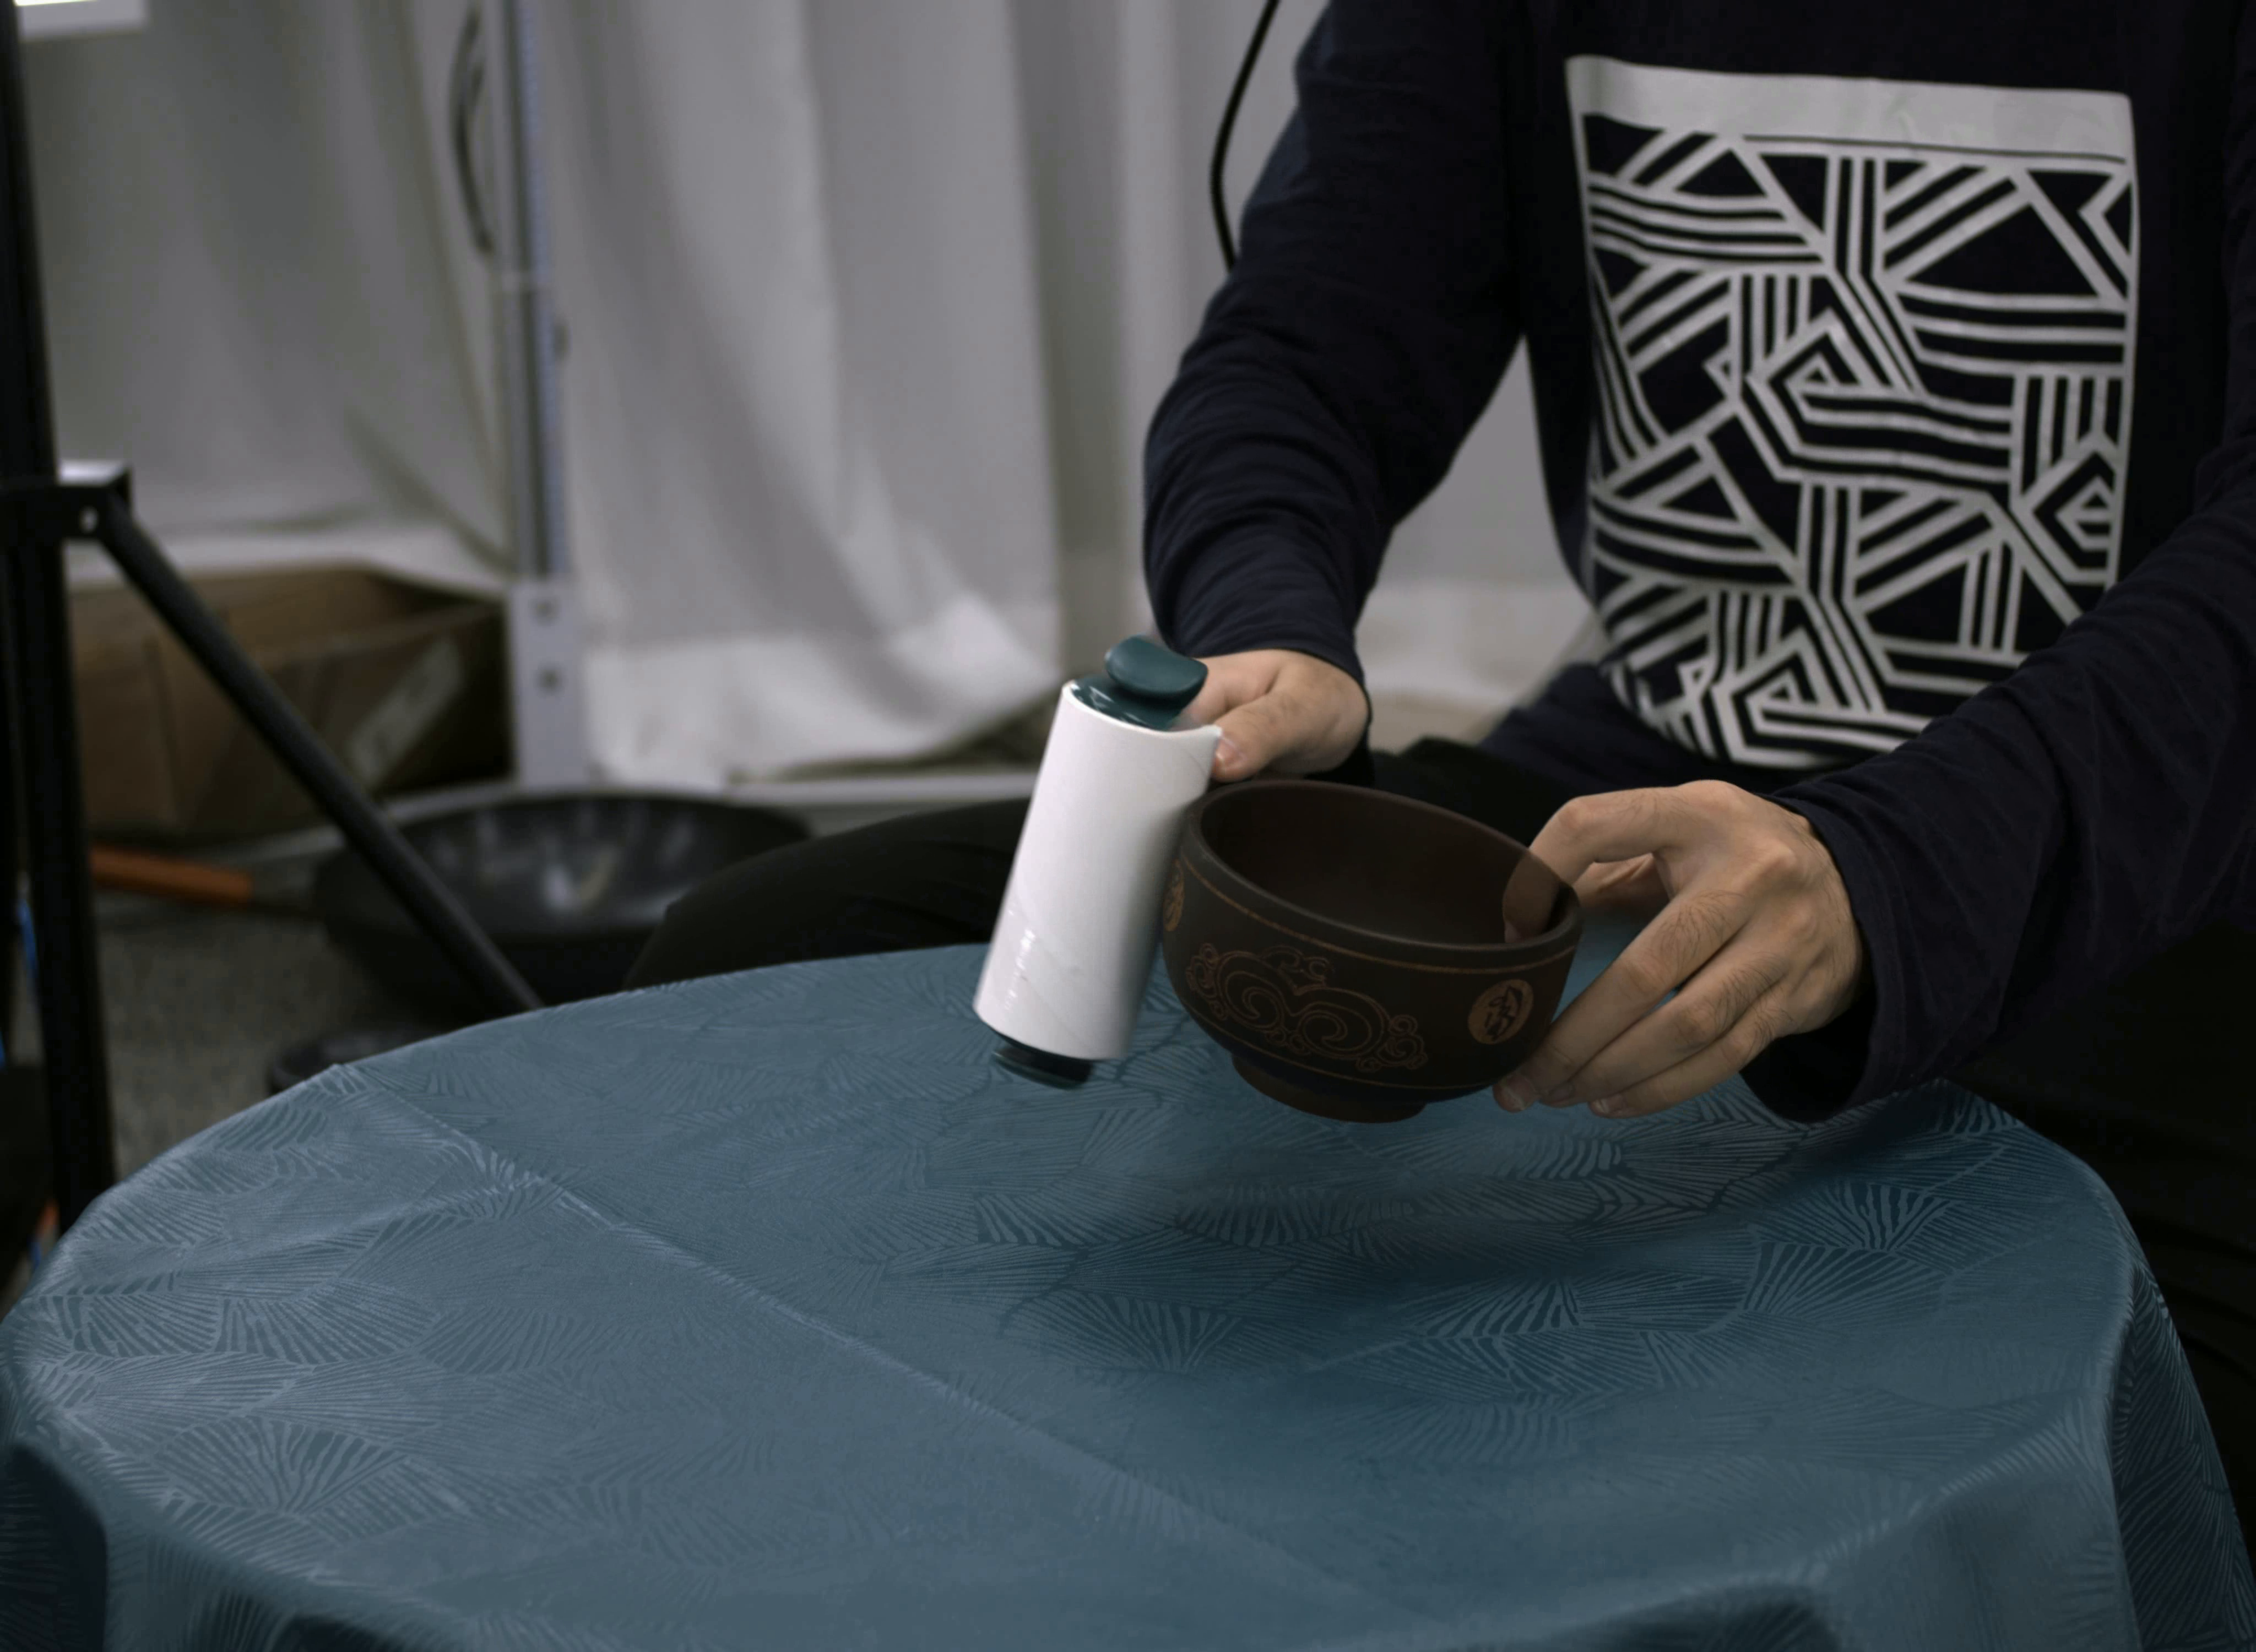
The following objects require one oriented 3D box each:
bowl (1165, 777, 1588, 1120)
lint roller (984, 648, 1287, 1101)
[{"bbox_3d":[0.066,0.040,1.490,0.117,0.070,0.119,11,18,-5],"label":"bowl"},{"bbox_3d":[0.009,0.001,1.586,0.048,0.135,0.179,18,15,9],"label":"lint roller"}]
